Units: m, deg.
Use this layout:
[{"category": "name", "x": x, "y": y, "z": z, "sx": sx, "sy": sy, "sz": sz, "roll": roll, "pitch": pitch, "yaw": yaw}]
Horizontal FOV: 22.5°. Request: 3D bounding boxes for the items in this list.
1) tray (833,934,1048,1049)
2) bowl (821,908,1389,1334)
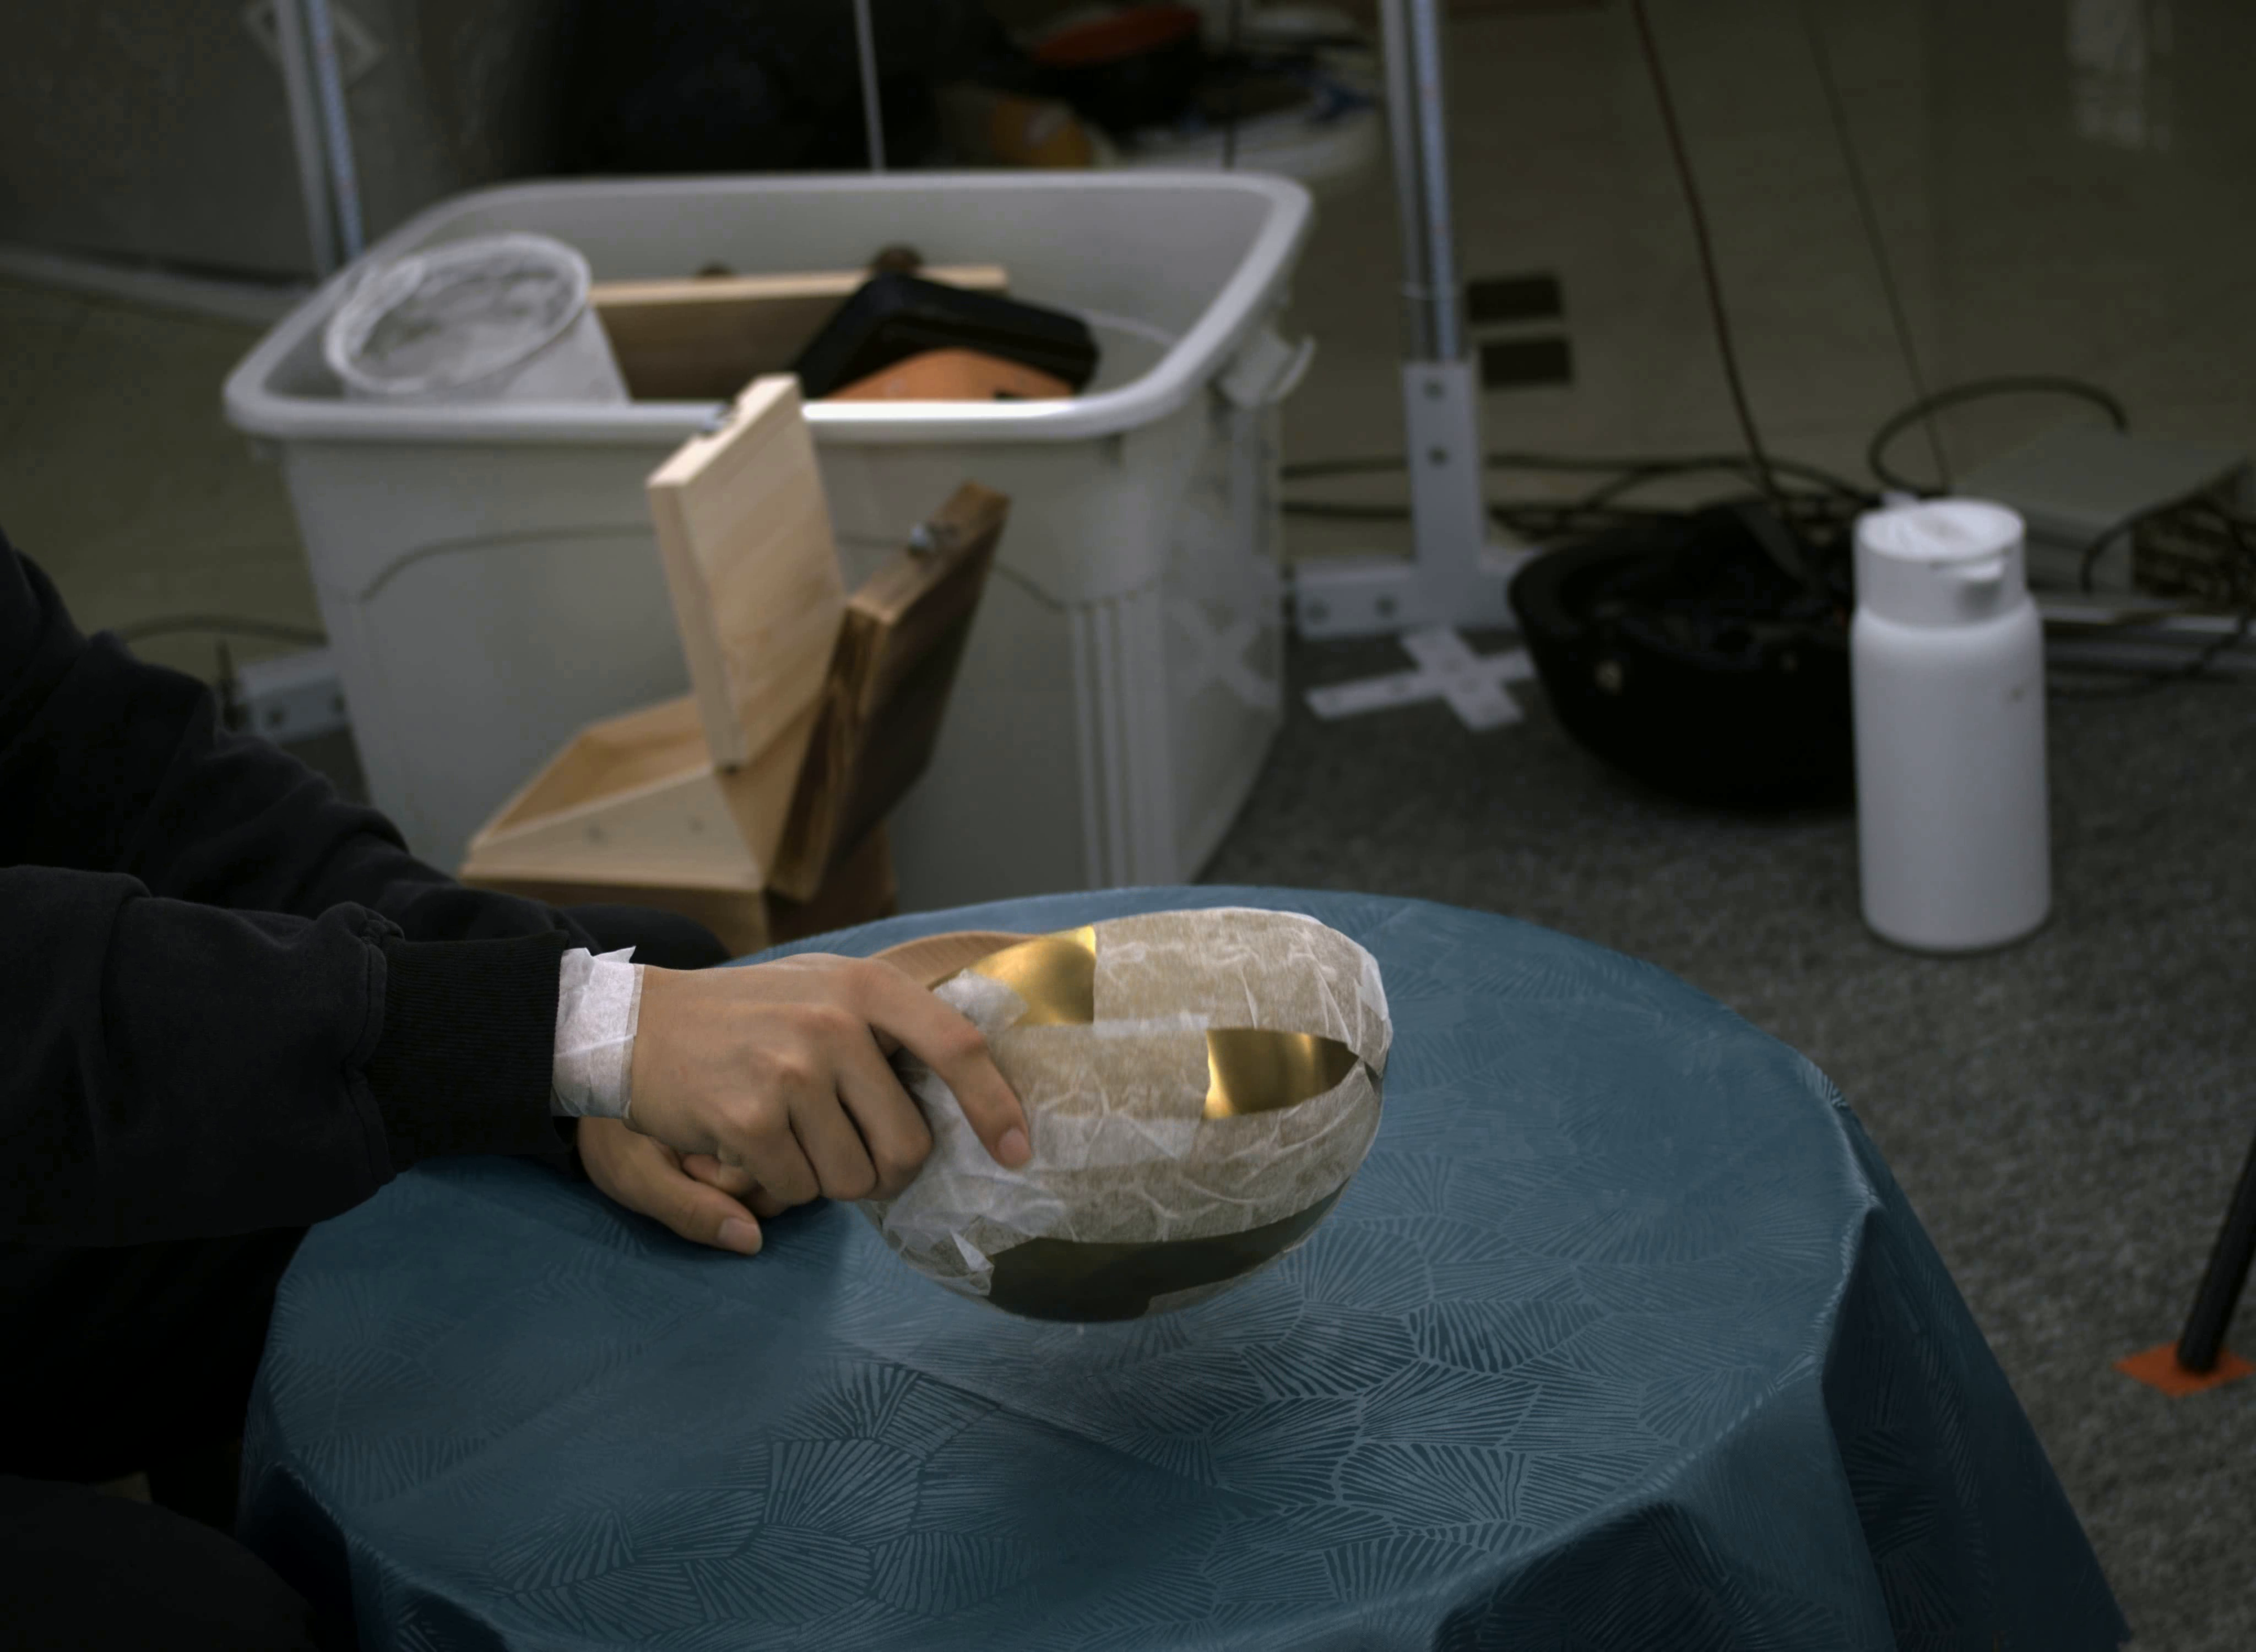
[{"category": "tray", "x": -0.040, "y": 0.095, "z": 2.239, "sx": 0.101, "sy": 0.020, "sz": 0.228, "roll": -19, "pitch": 30, "yaw": -20}, {"category": "bowl", "x": -0.001, "y": 0.119, "z": 1.966, "sx": 0.214, "sy": 0.218, "sz": 0.093, "roll": -10, "pitch": 63, "yaw": -10}]
